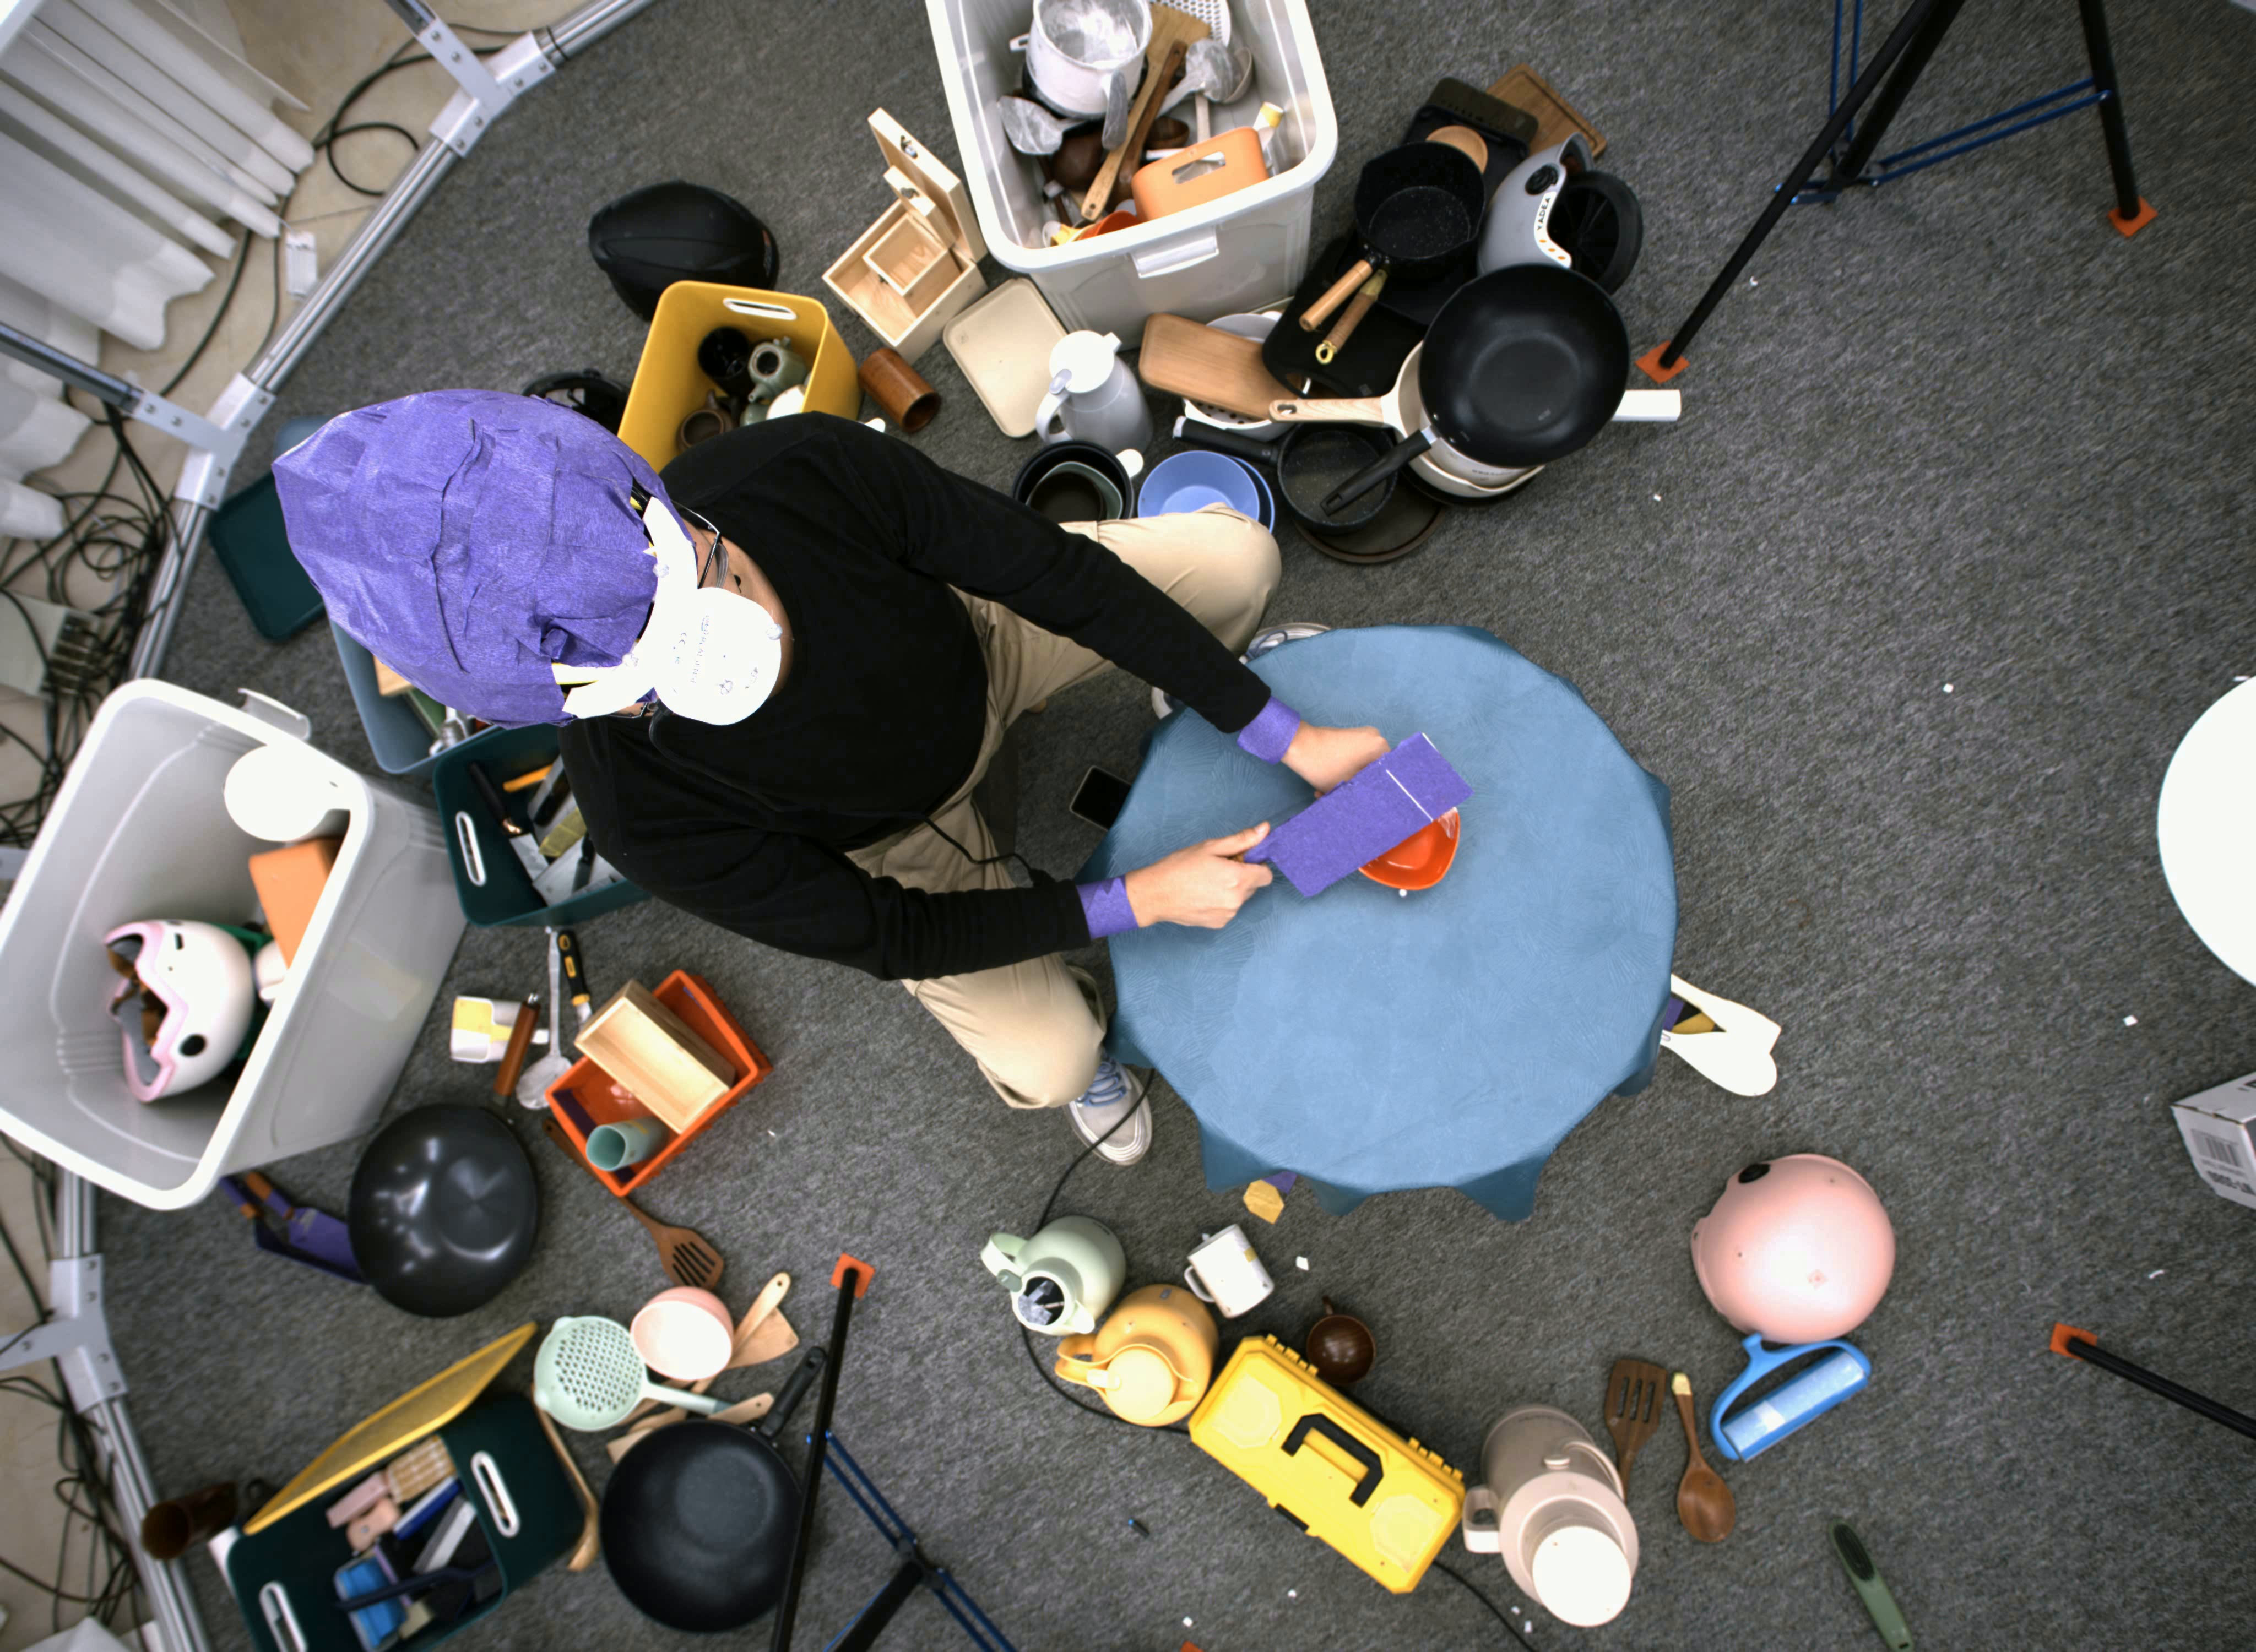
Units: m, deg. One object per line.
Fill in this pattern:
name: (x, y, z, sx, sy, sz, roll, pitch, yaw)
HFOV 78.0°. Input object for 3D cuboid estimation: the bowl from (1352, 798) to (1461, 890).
bowl: (0.287, 0.010, 1.432, 0.119, 0.051, 0.118, -1, 87, 9)

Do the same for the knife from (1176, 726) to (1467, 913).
knife: (0.195, 0.018, 1.402, 0.321, 0.031, 0.105, -35, 113, 27)
